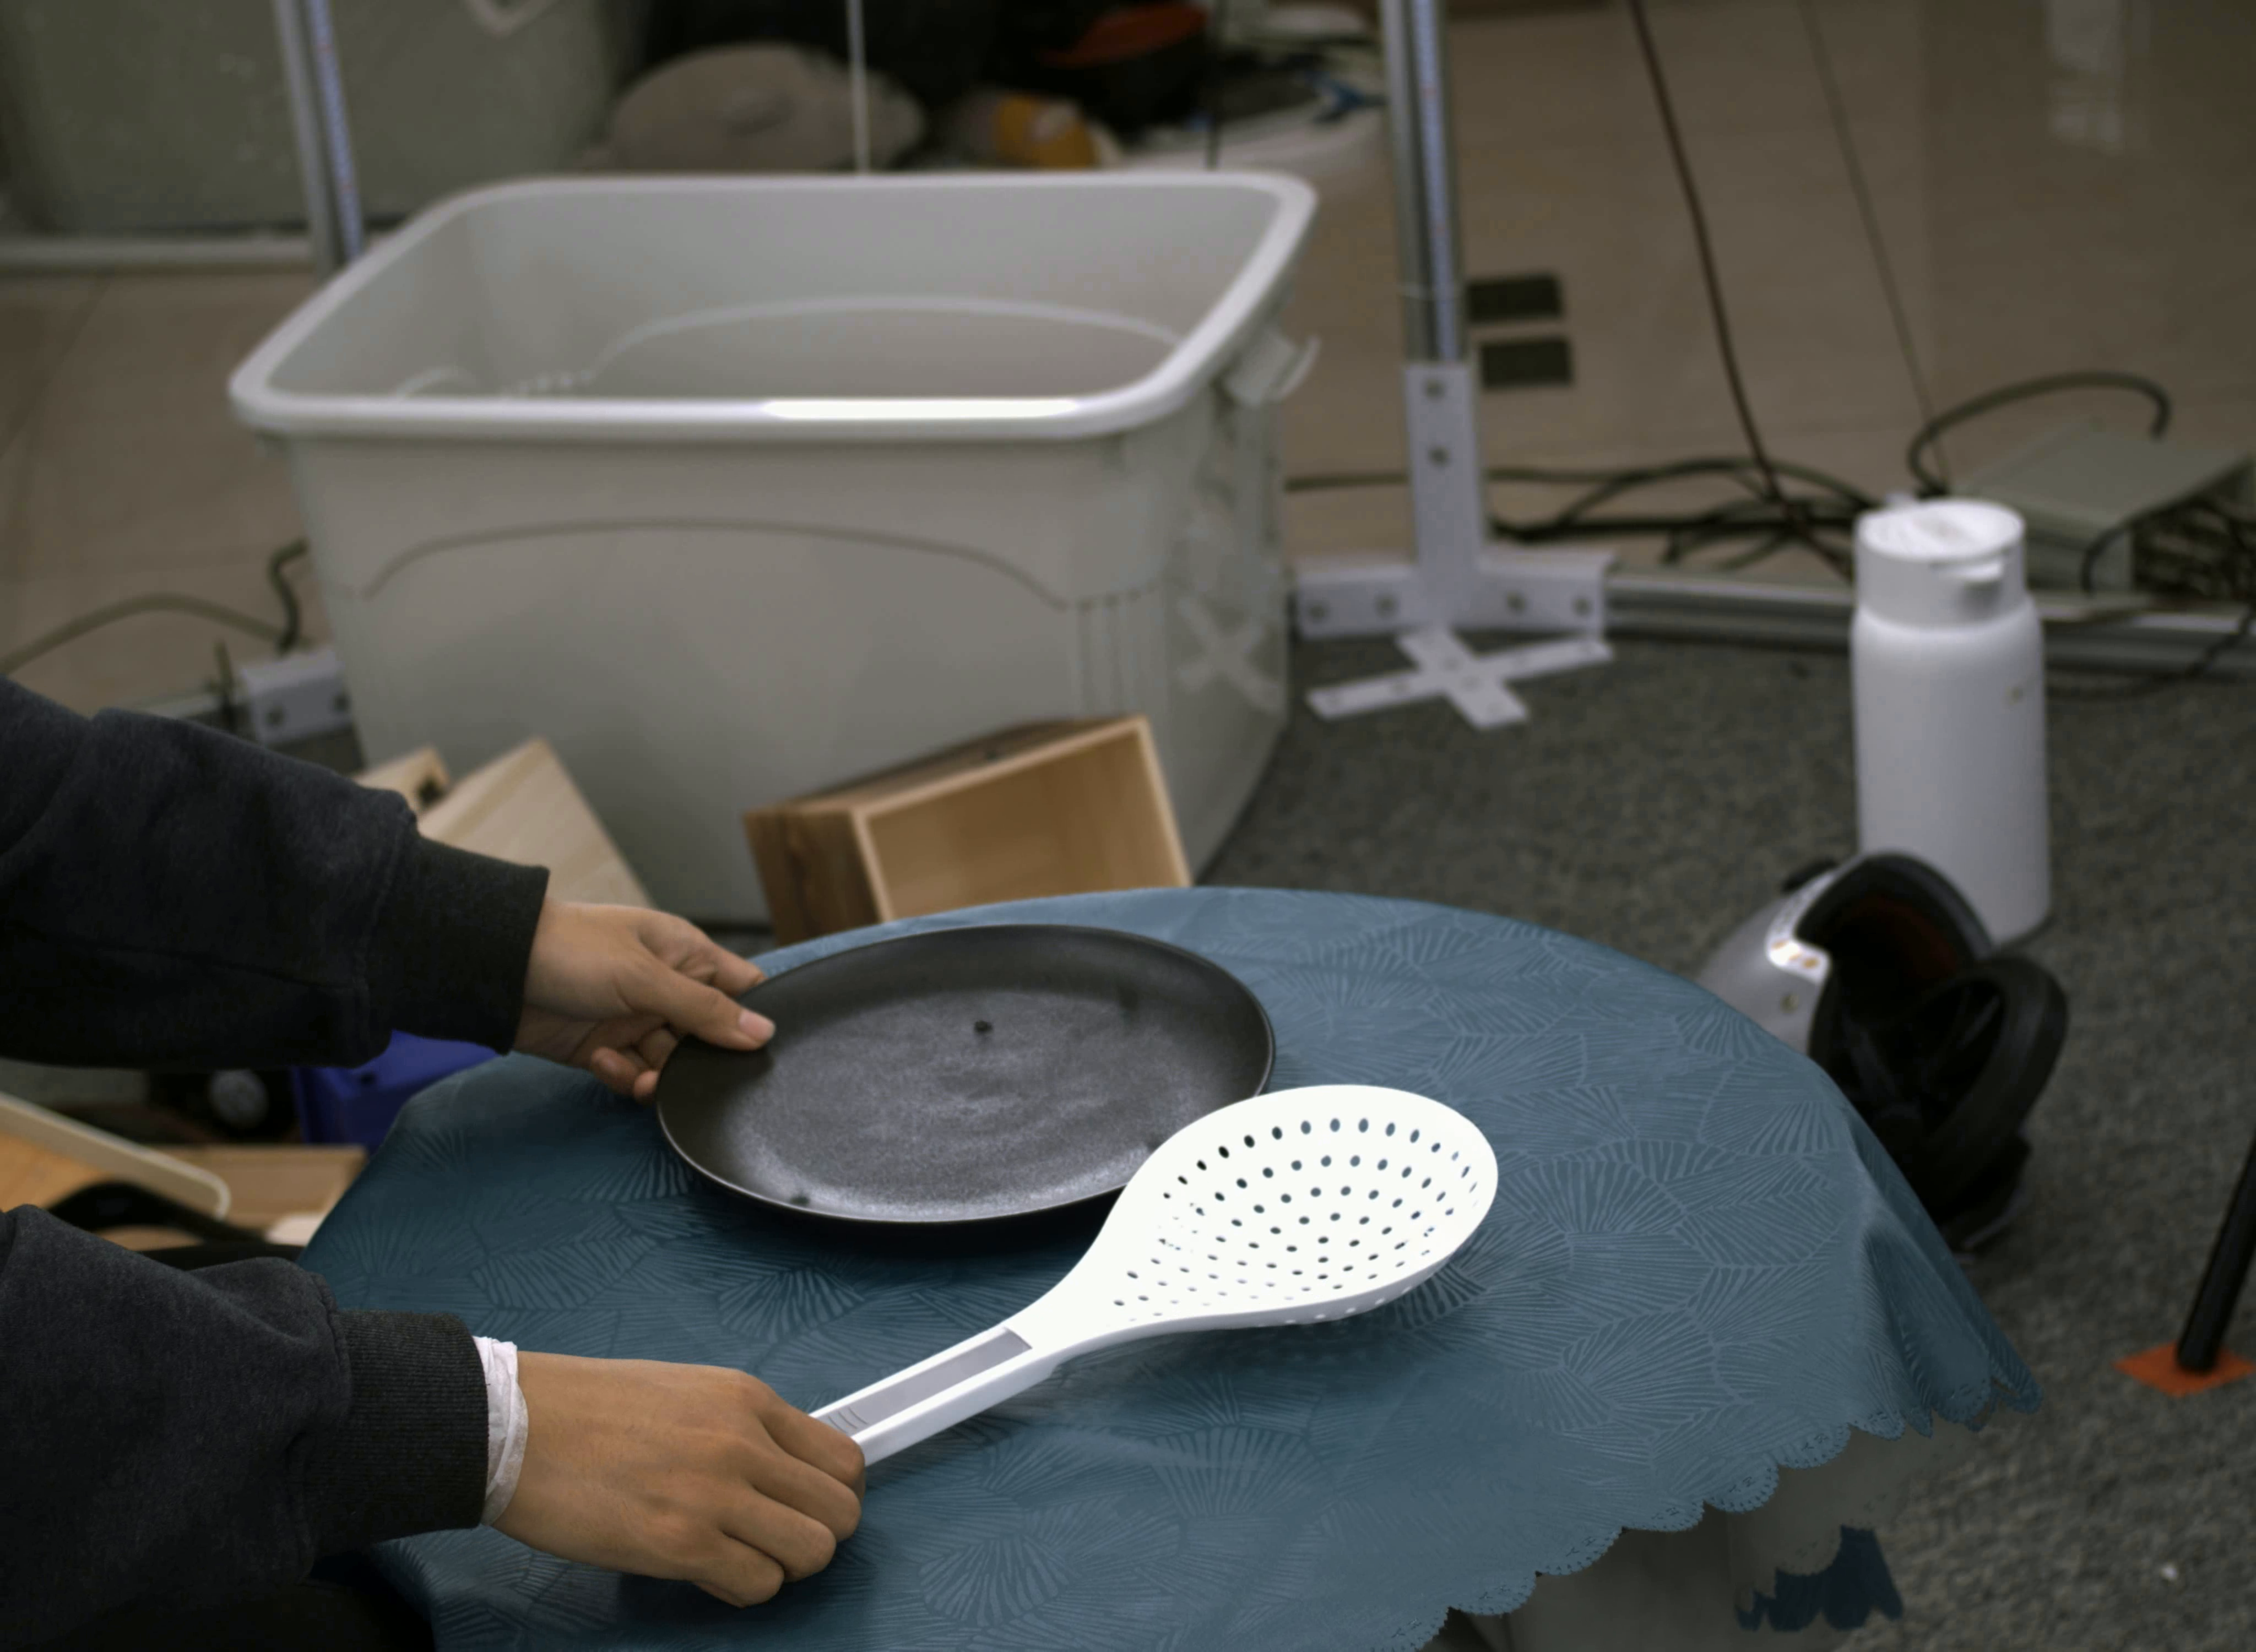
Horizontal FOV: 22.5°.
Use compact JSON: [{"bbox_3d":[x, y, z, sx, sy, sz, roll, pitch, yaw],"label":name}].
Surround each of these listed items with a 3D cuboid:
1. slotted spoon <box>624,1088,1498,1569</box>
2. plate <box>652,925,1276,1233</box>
[{"bbox_3d":[-0.022,0.179,2.010,0.348,0.046,0.134,-20,30,-26],"label":"slotted spoon"},{"bbox_3d":[-0.063,0.103,2.206,0.244,0.024,0.240,-4,26,2],"label":"plate"}]
